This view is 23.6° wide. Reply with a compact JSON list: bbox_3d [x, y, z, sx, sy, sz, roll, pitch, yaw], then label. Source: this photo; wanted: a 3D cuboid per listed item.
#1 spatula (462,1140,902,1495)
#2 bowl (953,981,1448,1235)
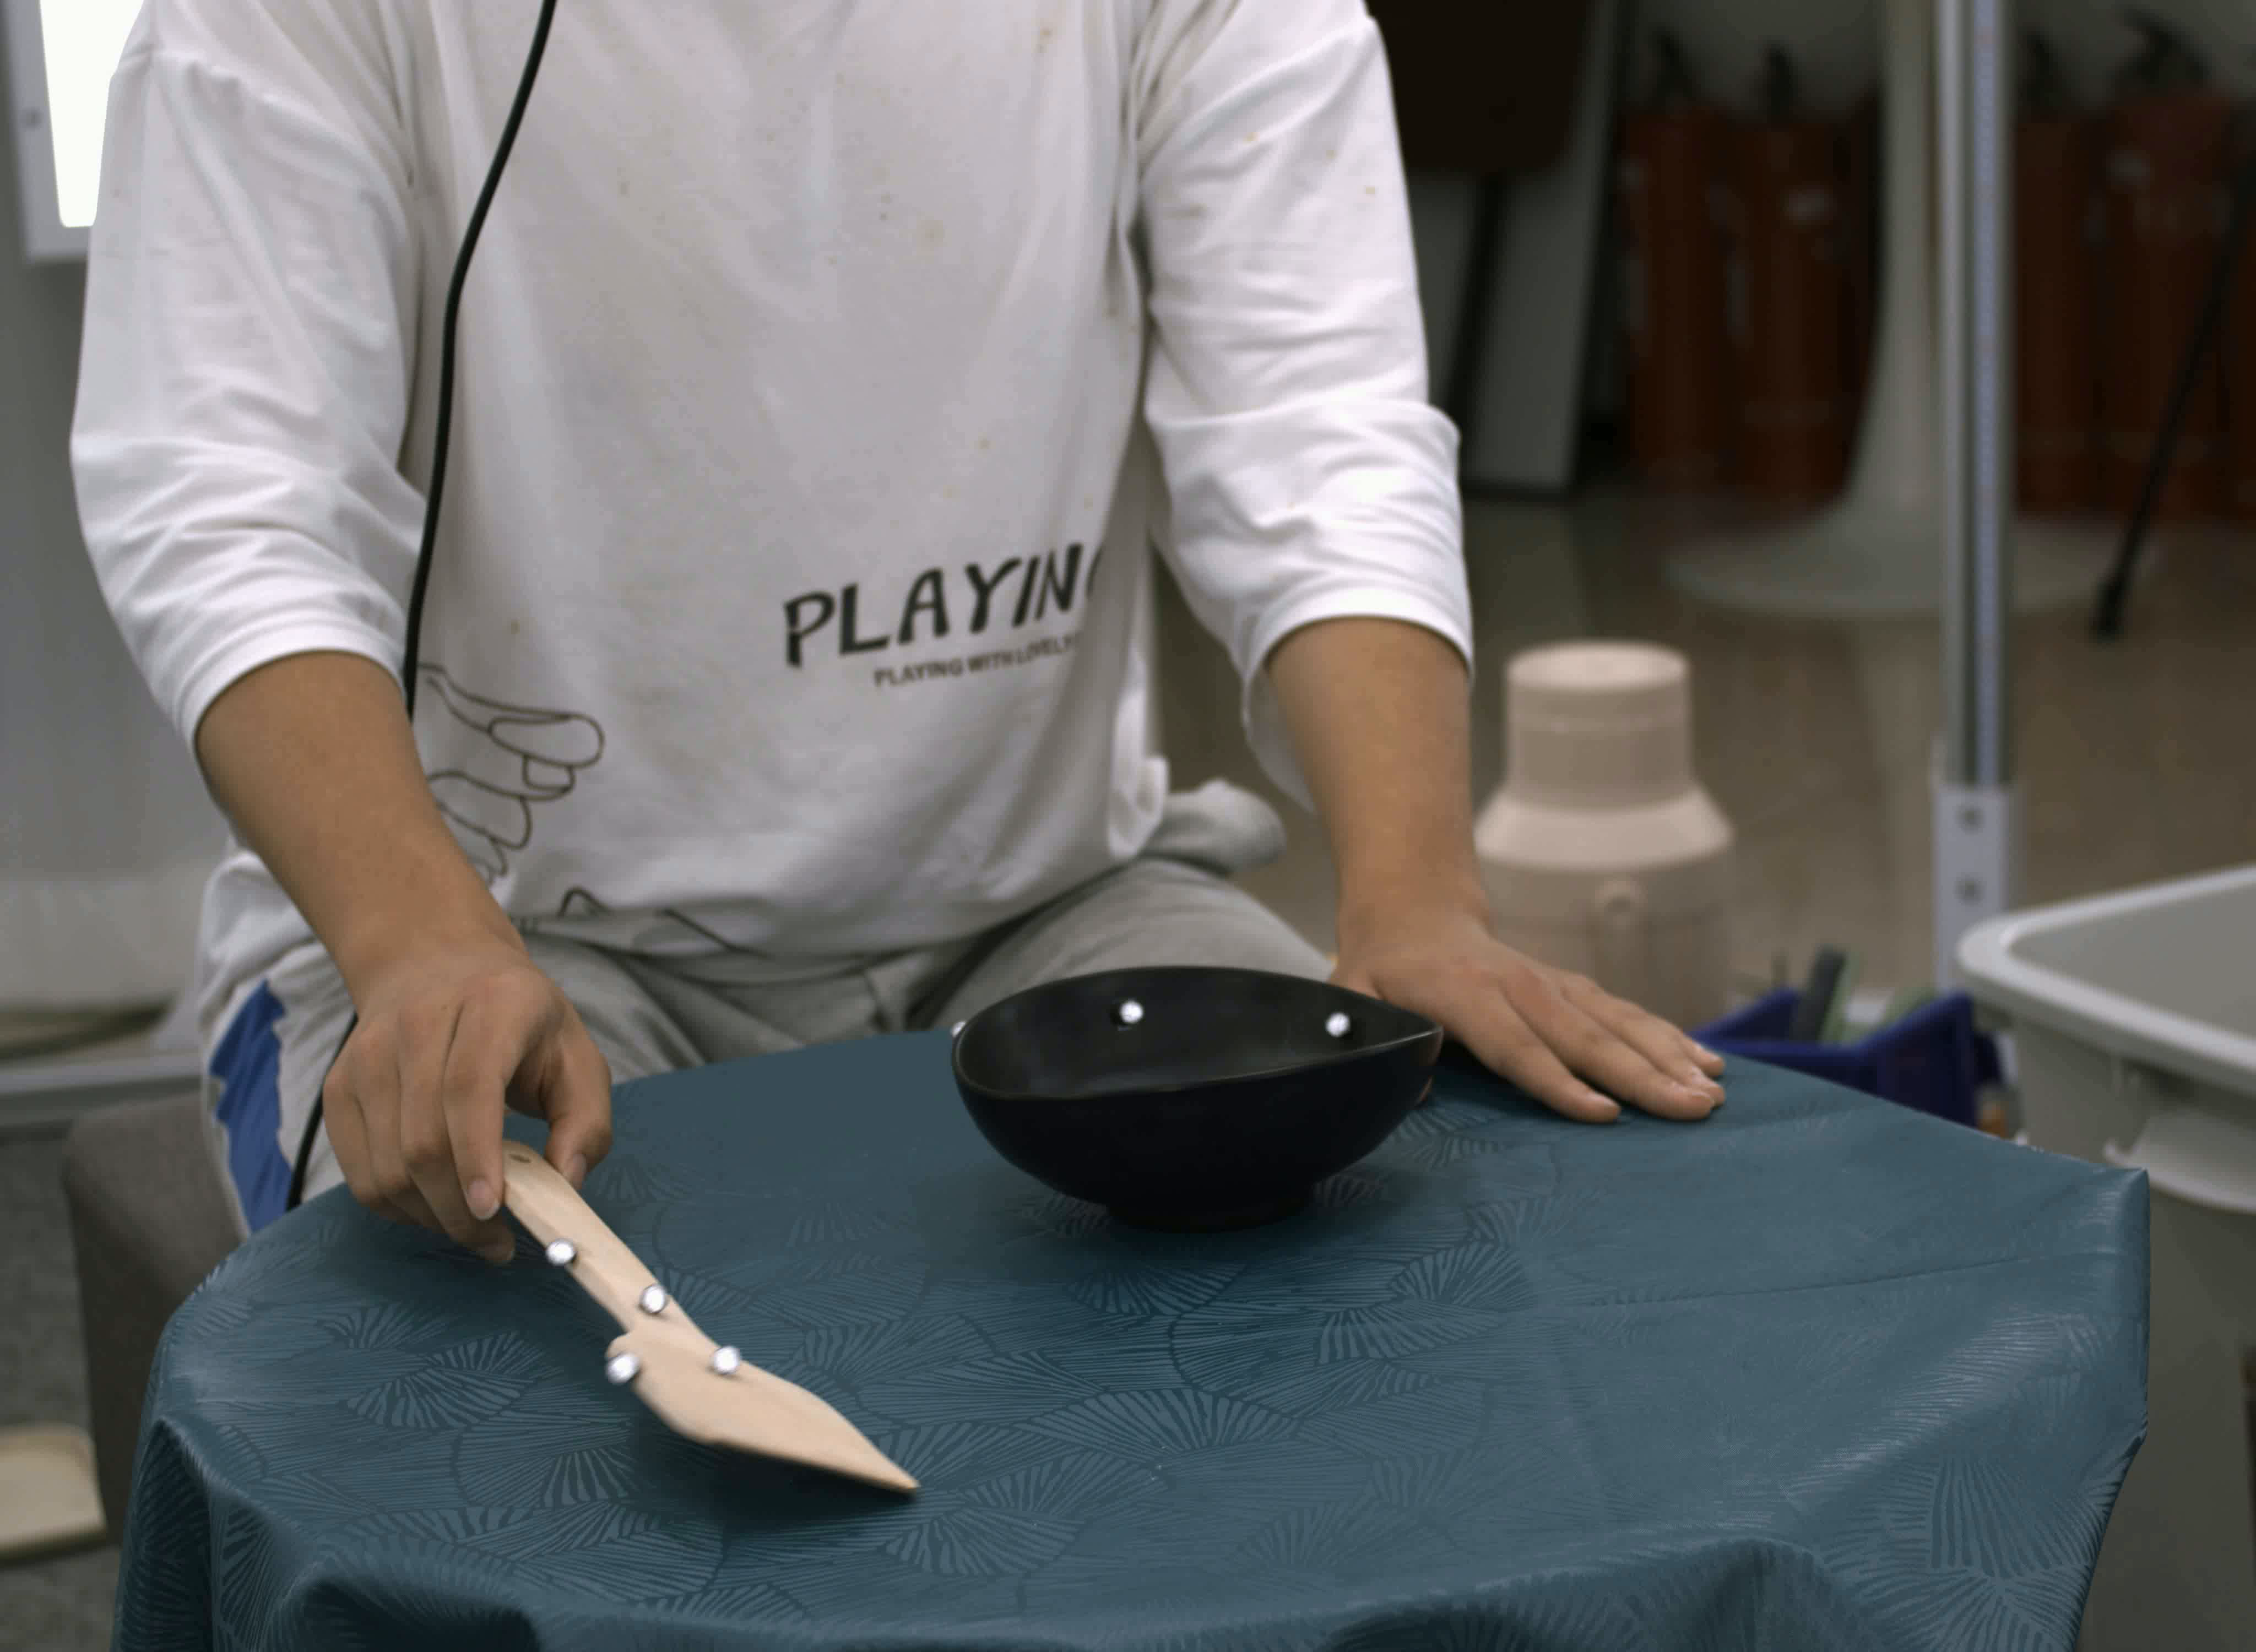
[{"bbox_3d":[-0.149,0.143,1.623,0.071,0.011,0.296,15,9,-27],"label":"spatula"},{"bbox_3d":[0.024,0.093,1.751,0.166,0.067,0.139,-9,13,-29],"label":"bowl"}]
